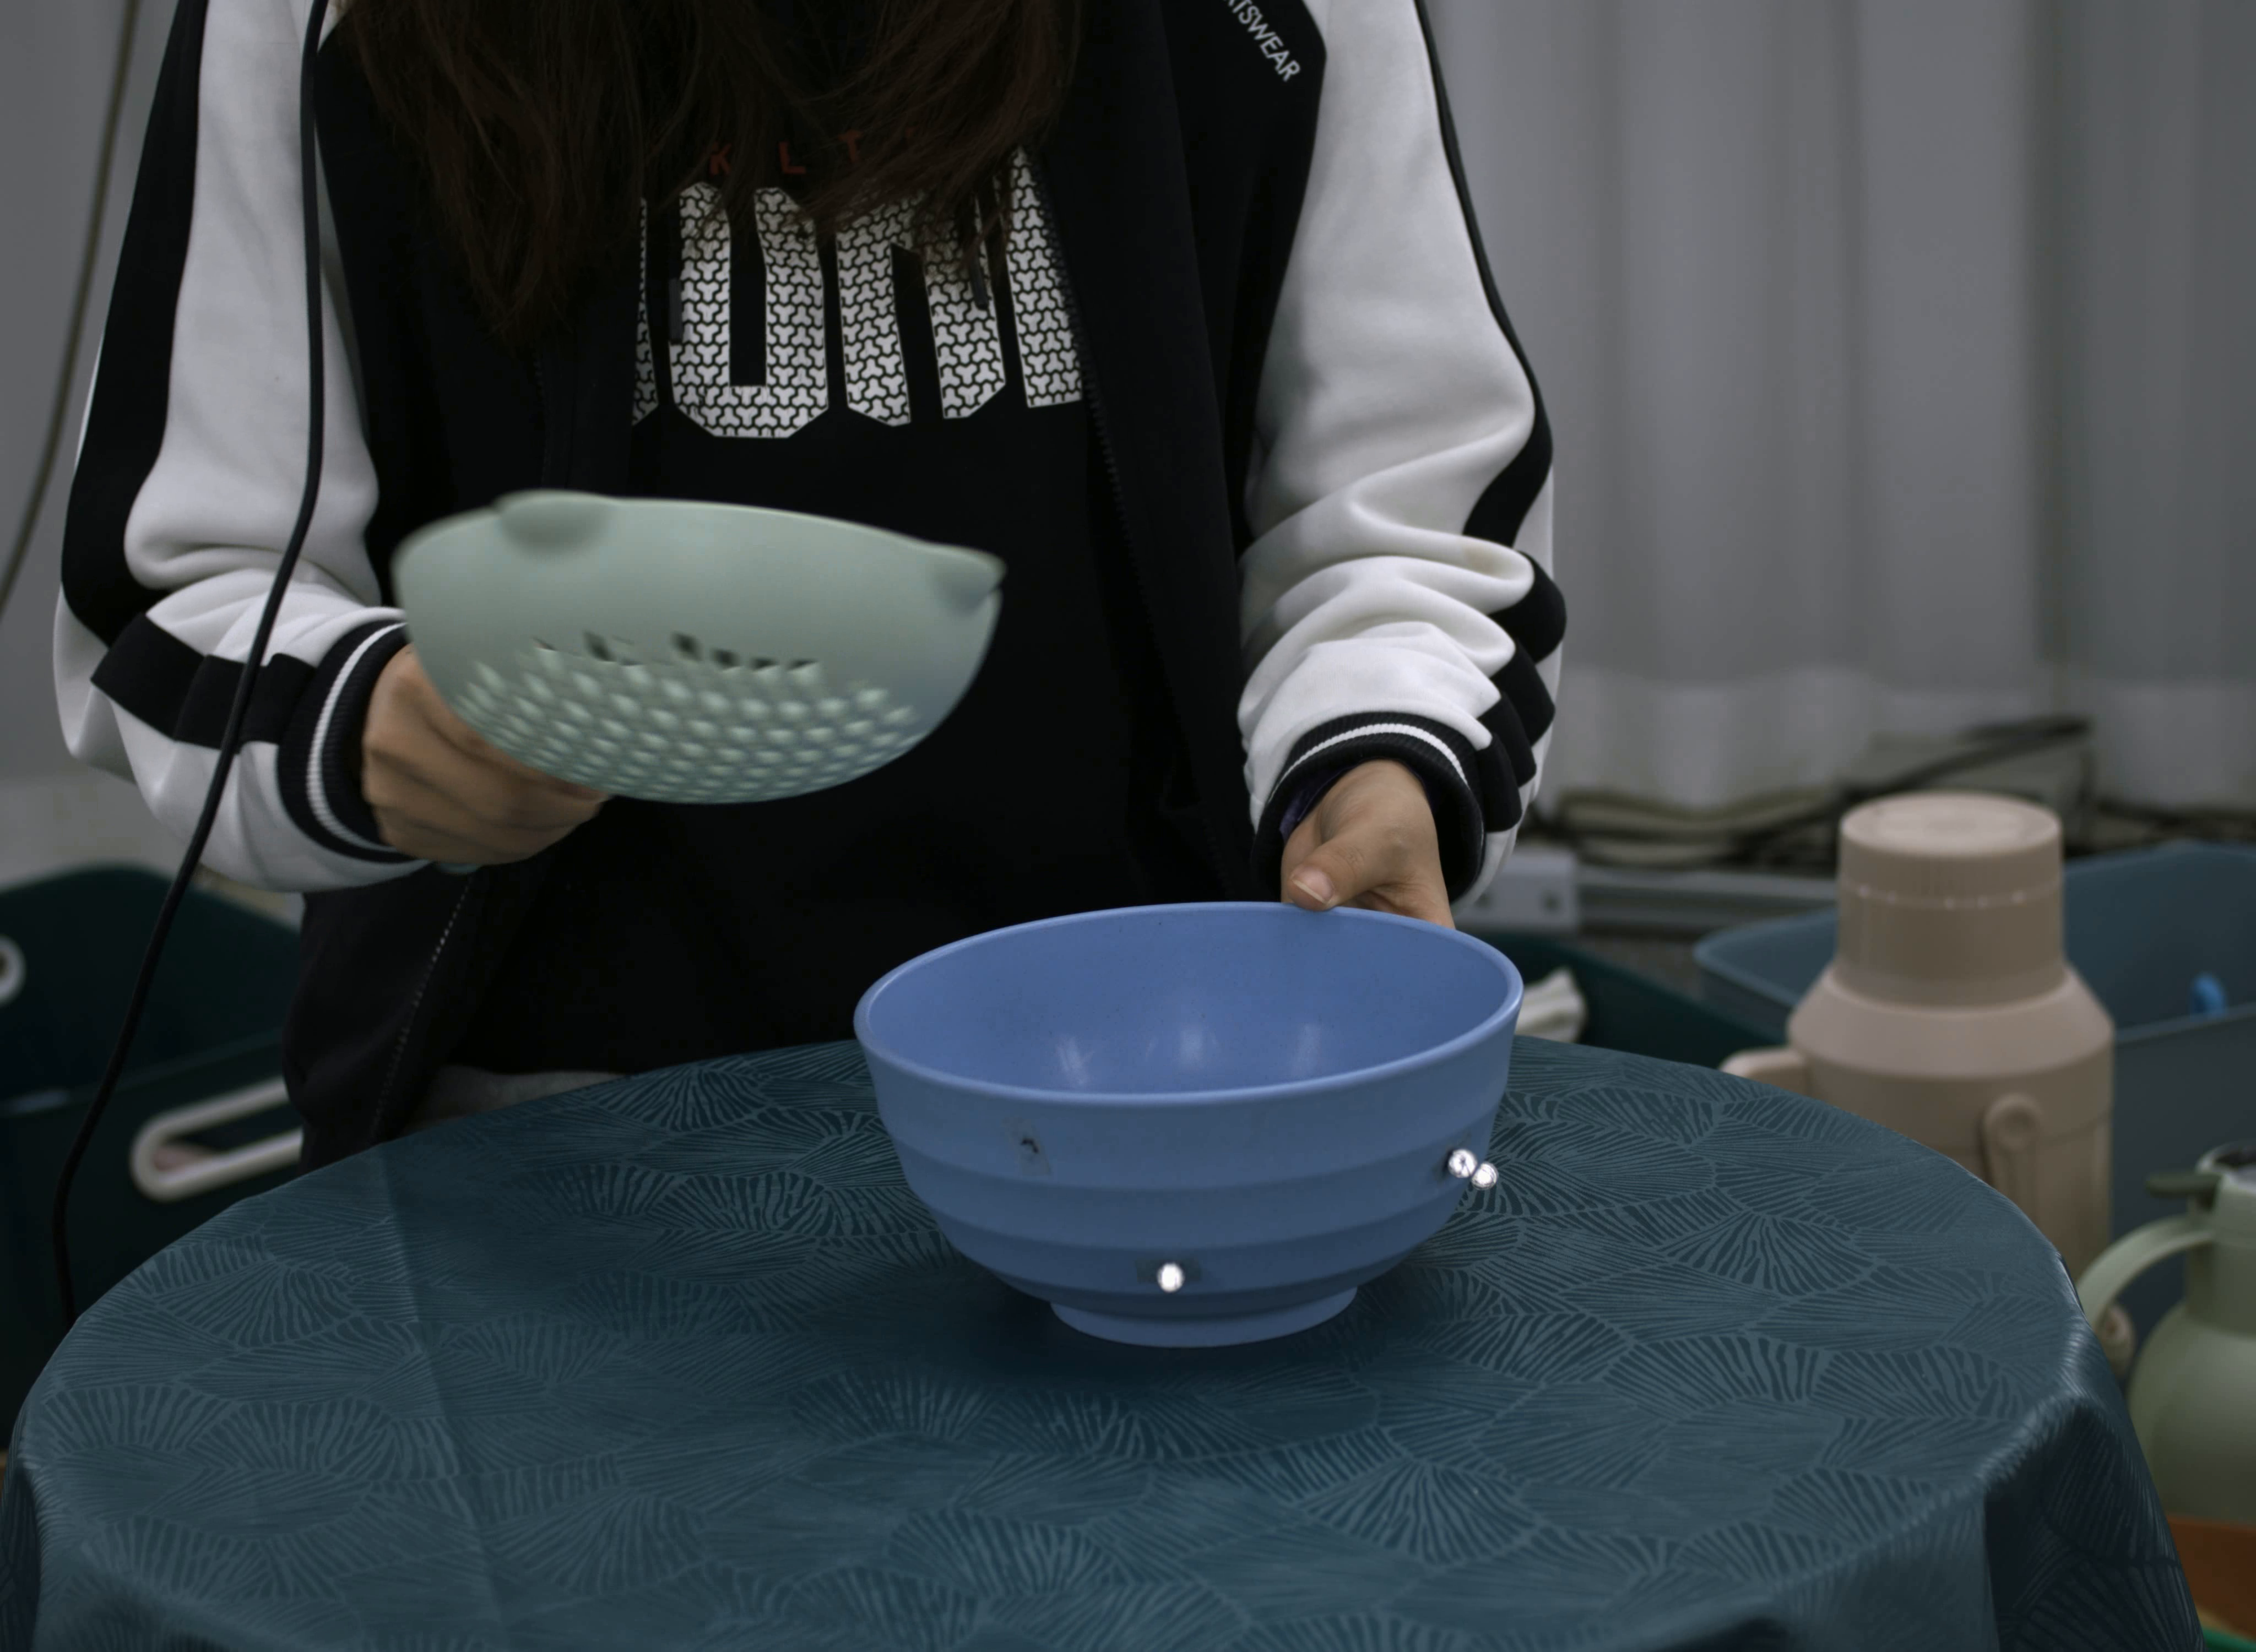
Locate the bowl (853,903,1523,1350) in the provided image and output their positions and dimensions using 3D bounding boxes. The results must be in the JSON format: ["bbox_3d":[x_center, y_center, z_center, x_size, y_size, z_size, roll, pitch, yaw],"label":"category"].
[{"bbox_3d":[0.020,0.094,1.606,0.196,0.095,0.198,-3,14,1],"label":"bowl"}]

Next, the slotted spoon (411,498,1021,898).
[{"bbox_3d":[-0.151,-0.032,1.624,0.168,0.076,0.358,5,-8,-20],"label":"slotted spoon"}]
